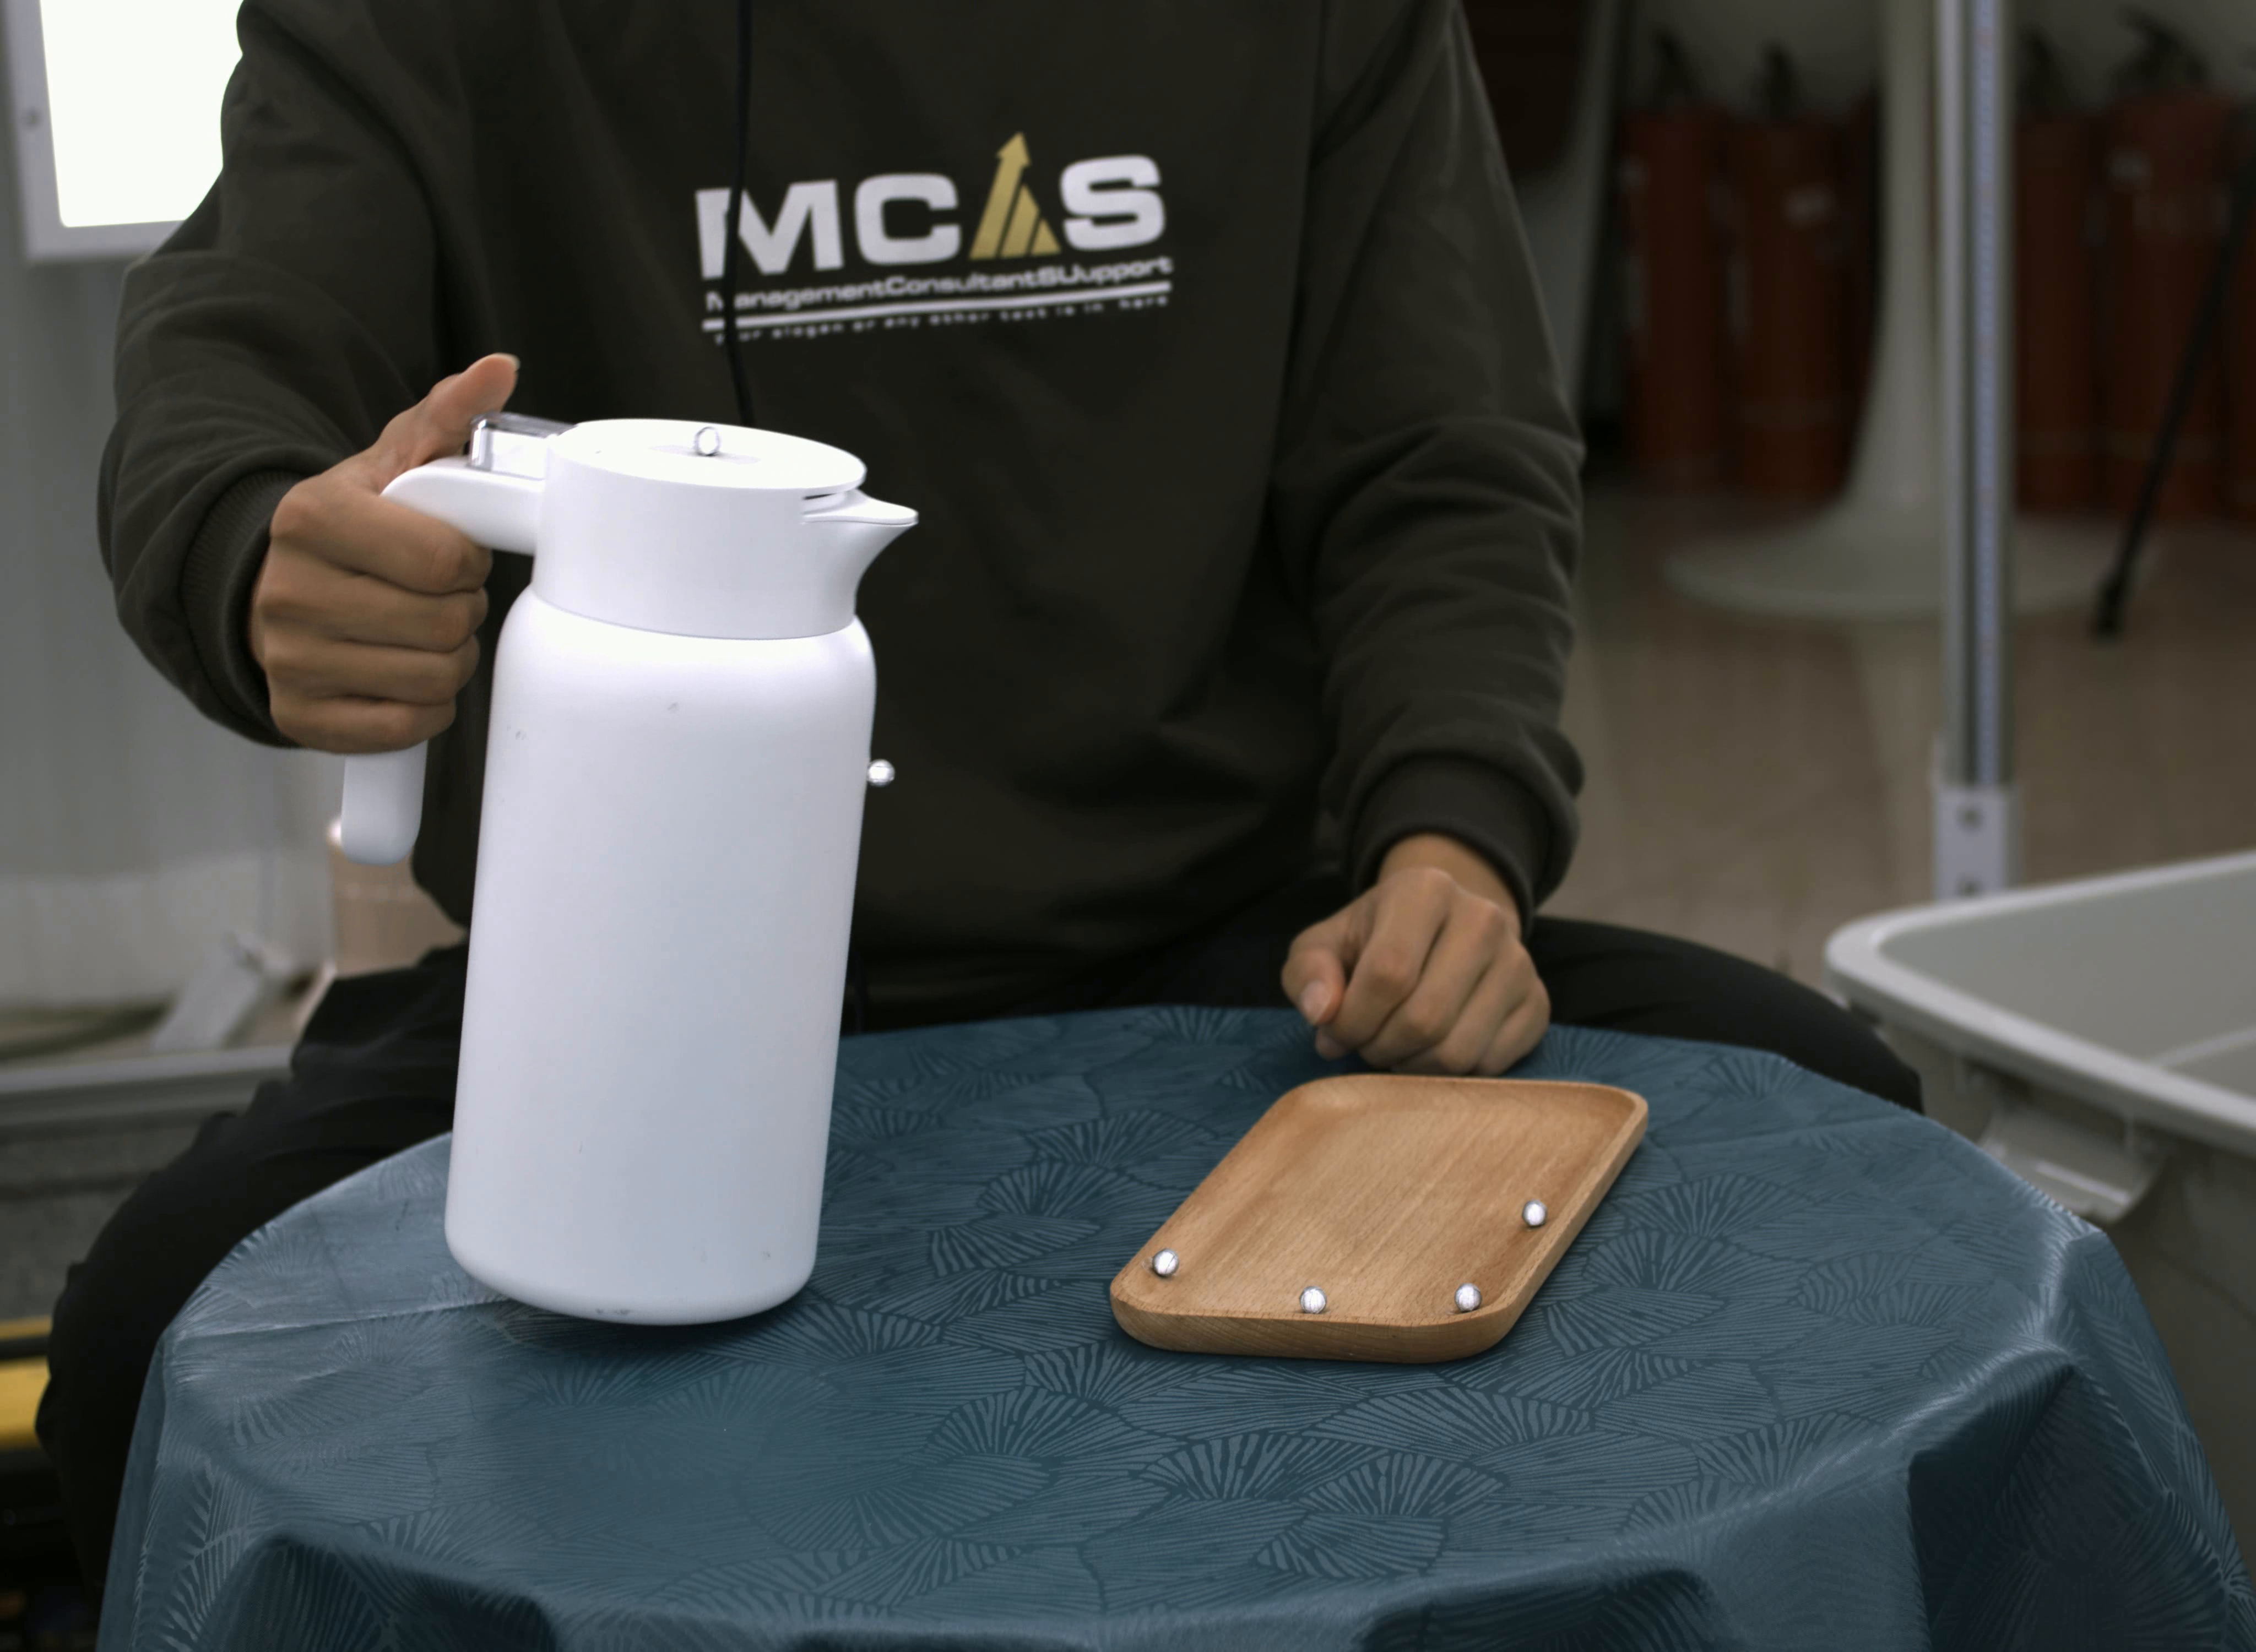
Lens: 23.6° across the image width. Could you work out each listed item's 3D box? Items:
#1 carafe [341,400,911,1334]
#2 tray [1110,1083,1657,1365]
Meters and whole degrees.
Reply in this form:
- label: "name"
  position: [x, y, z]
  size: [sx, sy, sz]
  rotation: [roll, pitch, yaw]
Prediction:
- label: "carafe"
  position: [-0.159, 0.010, 1.664]
  size: [0.172, 0.272, 0.123]
  rotation: [9, 15, 14]
- label: "tray"
  position: [0.085, 0.124, 1.711]
  size: [0.130, 0.023, 0.248]
  rotation: [3, 14, 19]
